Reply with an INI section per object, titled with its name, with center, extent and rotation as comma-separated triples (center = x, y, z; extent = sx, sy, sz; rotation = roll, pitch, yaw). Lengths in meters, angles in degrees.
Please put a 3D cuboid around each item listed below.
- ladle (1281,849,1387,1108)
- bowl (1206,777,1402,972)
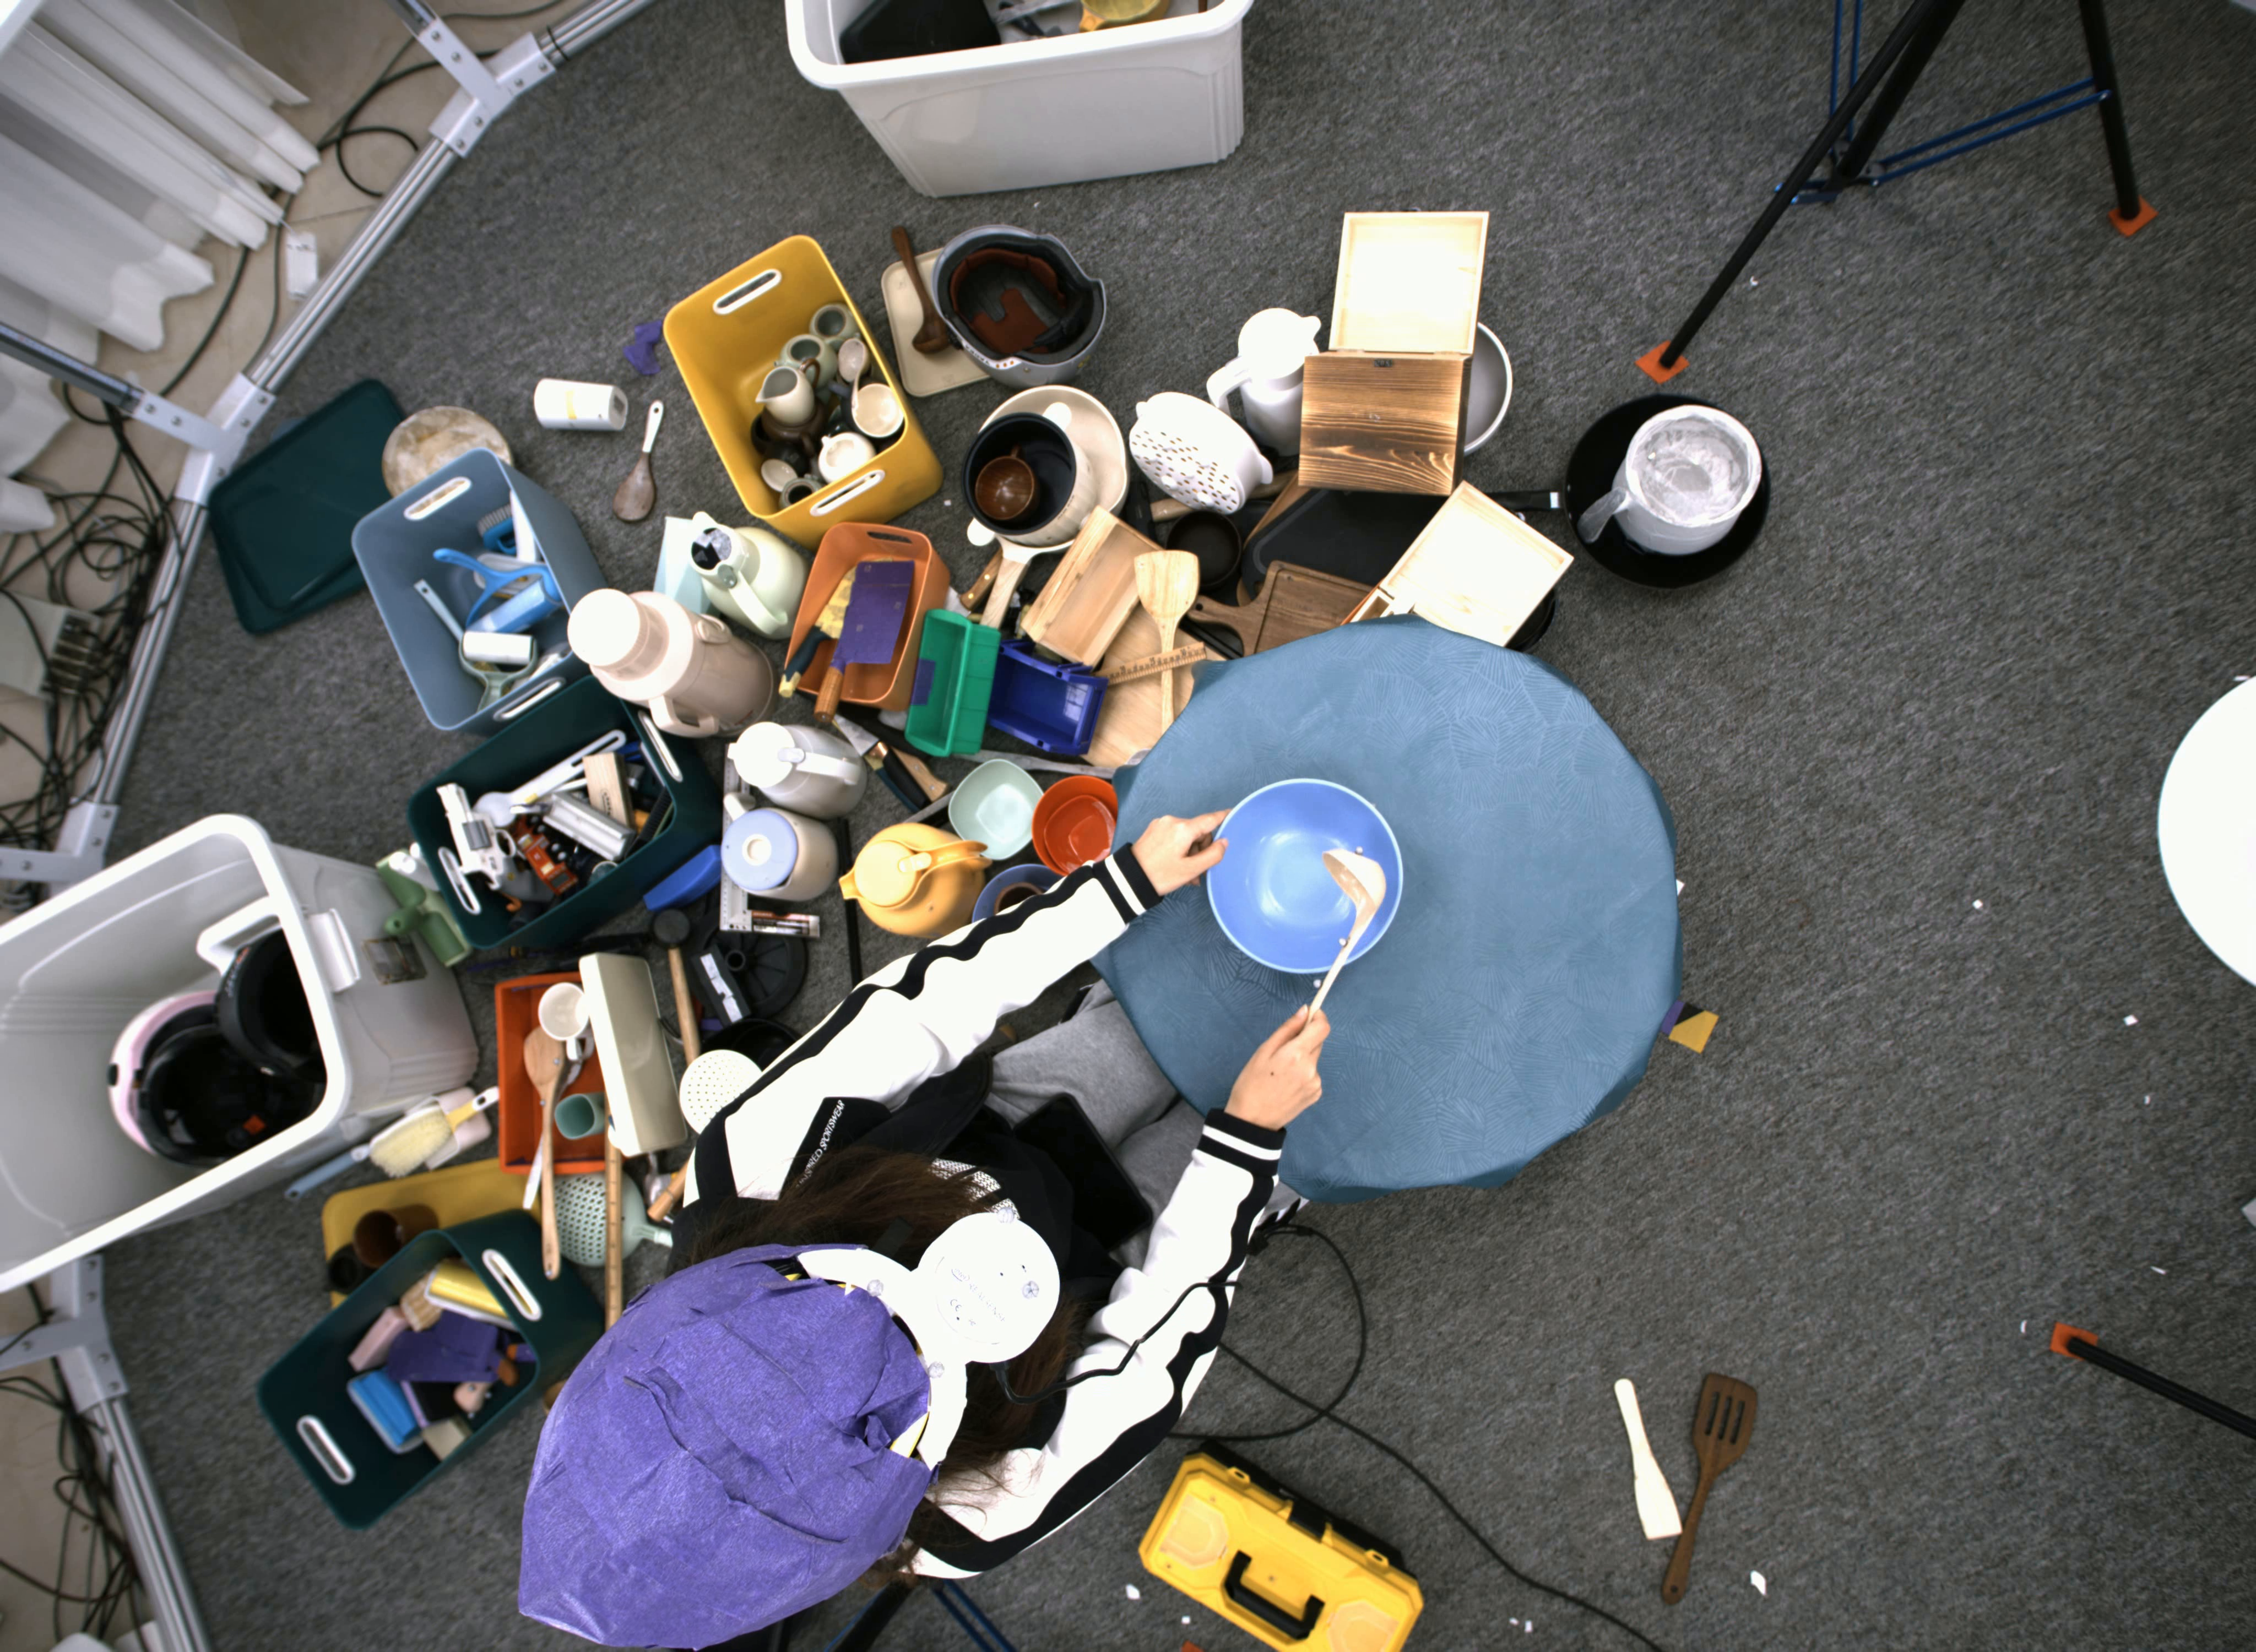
[ladle]
center = 0.175, 0.144, 1.334
extent = 0.073, 0.072, 0.254
rotation = 24, 89, -30
[bowl]
center = 0.182, 0.054, 1.429
extent = 0.197, 0.095, 0.195
rotation = -1, 84, 9
